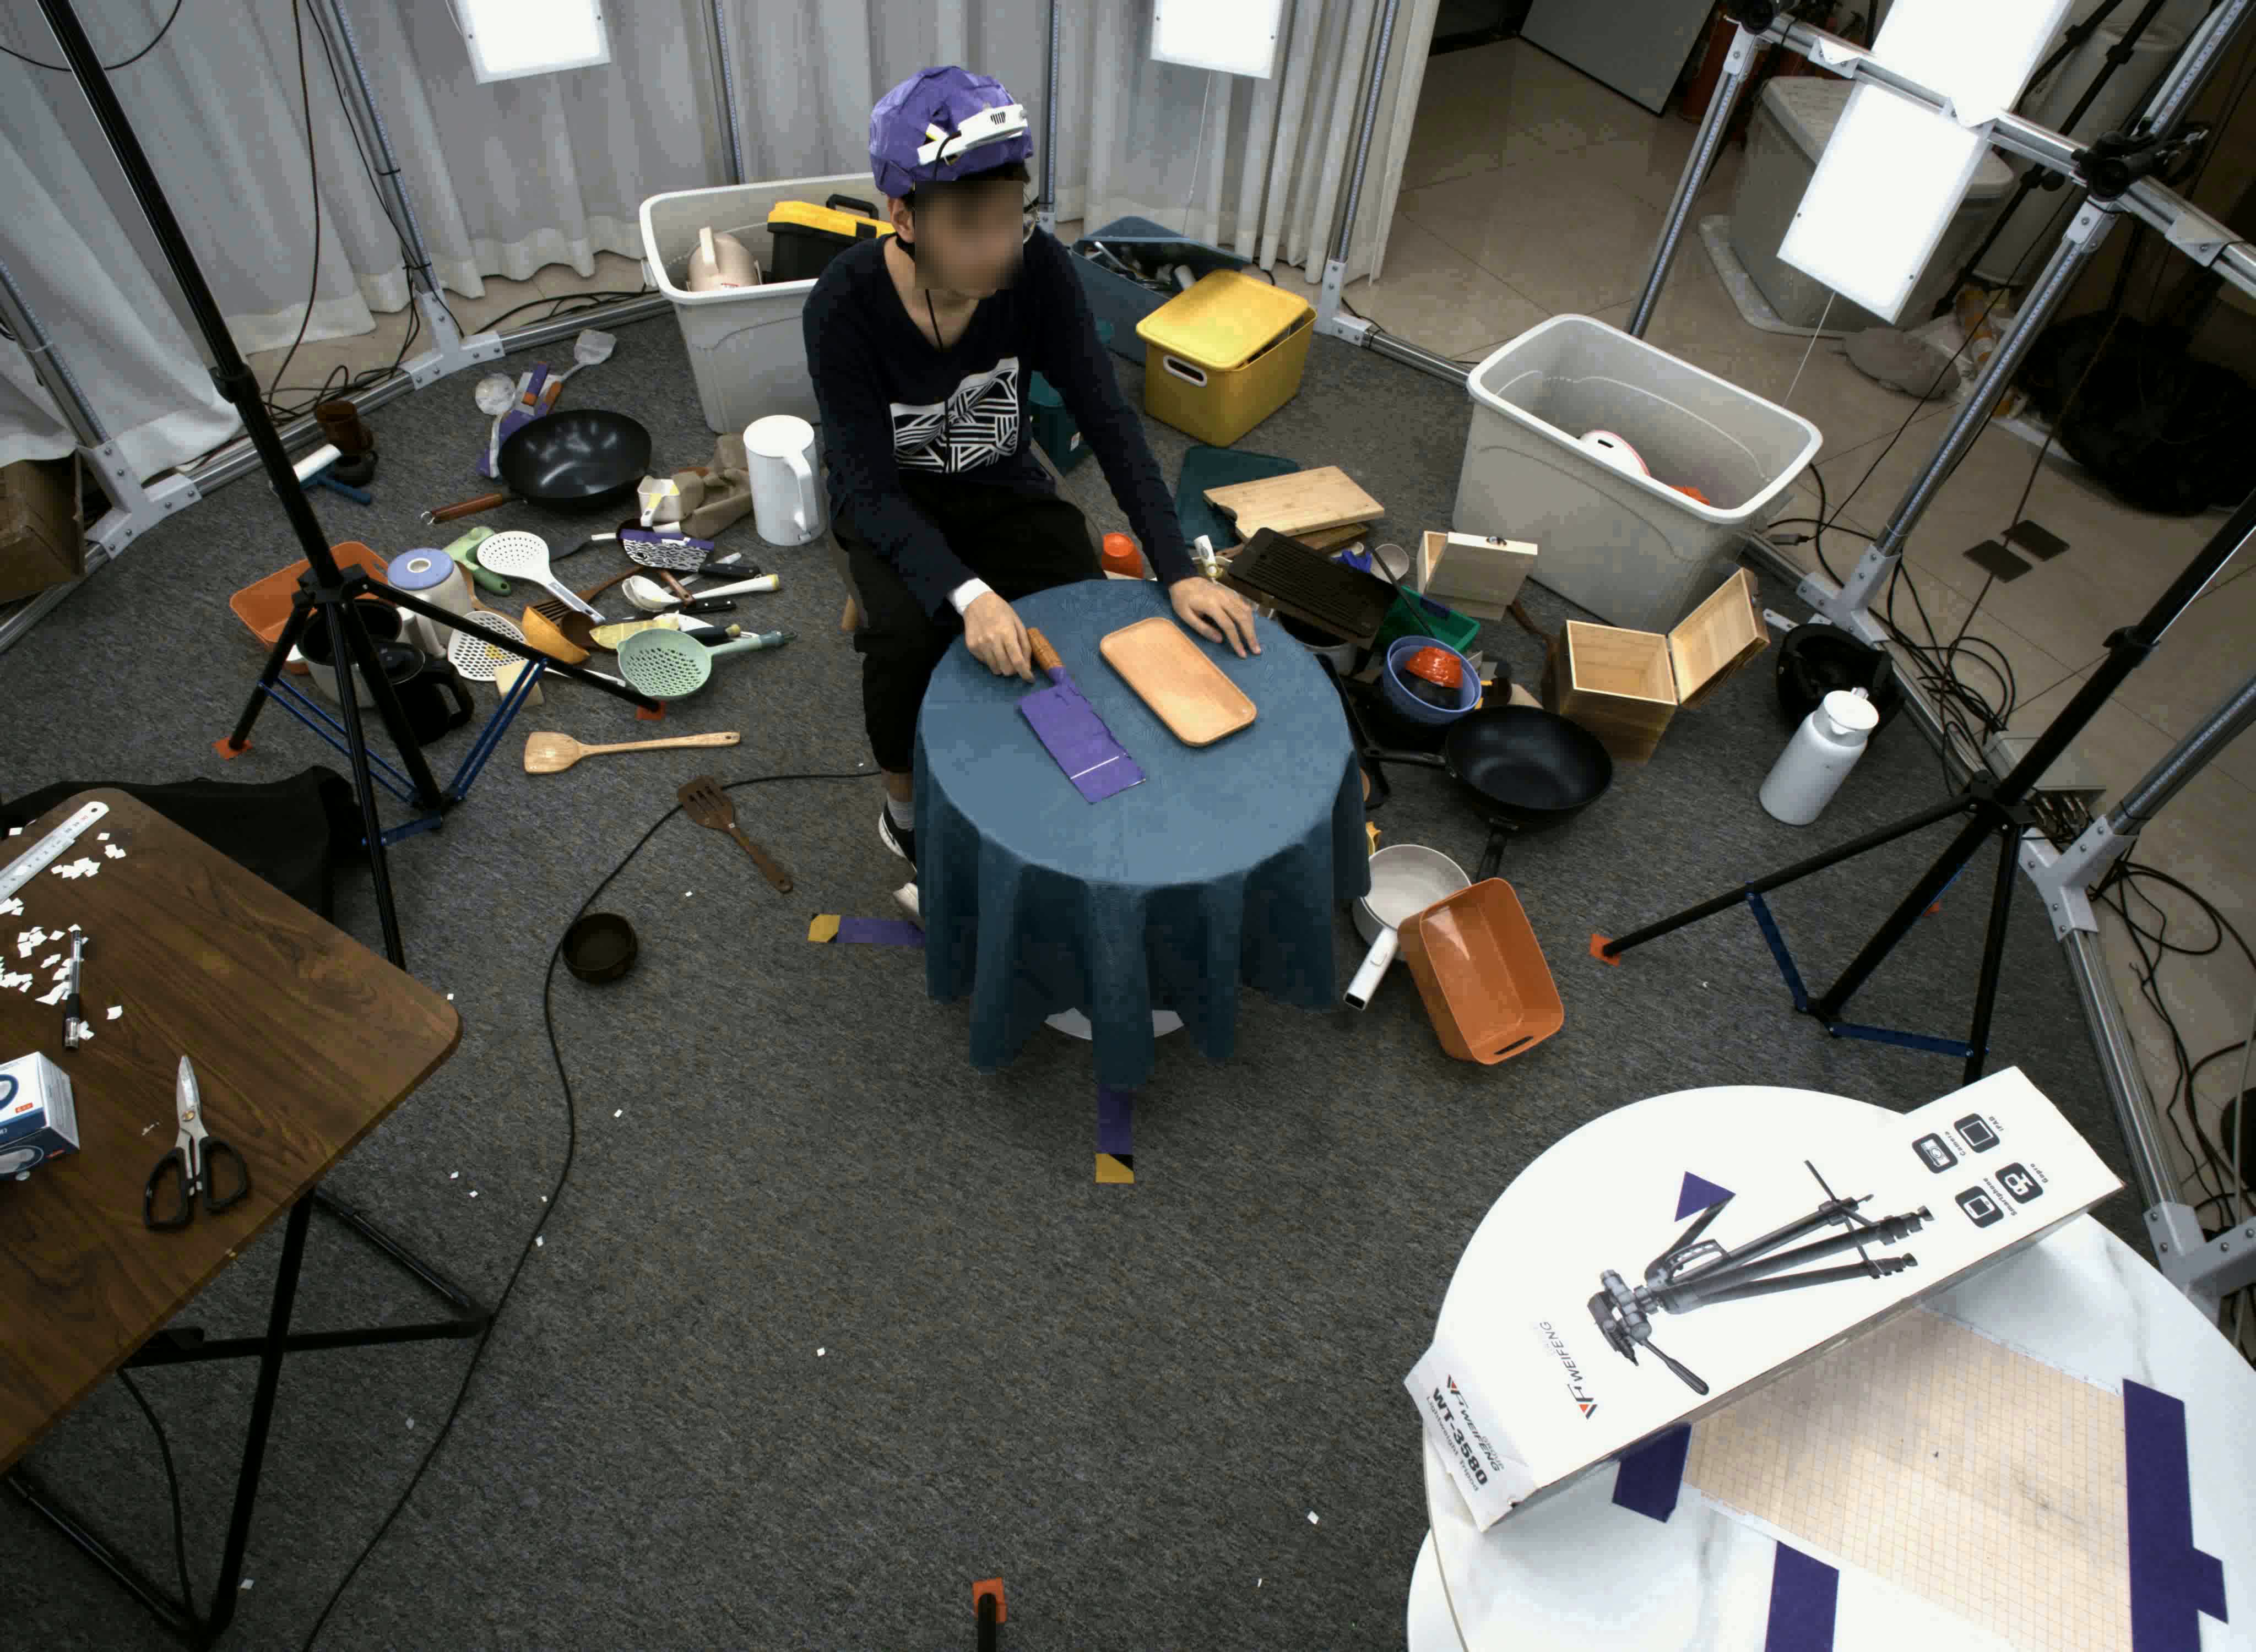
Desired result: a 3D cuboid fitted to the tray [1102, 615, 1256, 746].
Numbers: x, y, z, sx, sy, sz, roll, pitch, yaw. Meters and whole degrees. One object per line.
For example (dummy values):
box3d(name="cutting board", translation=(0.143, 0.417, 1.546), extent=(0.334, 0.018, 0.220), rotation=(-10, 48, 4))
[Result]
box3d(name="tray", translation=(0.071, -0.212, 1.845), extent=(0.131, 0.022, 0.256), rotation=(-21, 53, -23))

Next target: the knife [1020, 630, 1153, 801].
box3d(name="knife", translation=(-0.089, -0.158, 1.781), extent=(0.104, 0.031, 0.322), rotation=(-23, 55, -22))
